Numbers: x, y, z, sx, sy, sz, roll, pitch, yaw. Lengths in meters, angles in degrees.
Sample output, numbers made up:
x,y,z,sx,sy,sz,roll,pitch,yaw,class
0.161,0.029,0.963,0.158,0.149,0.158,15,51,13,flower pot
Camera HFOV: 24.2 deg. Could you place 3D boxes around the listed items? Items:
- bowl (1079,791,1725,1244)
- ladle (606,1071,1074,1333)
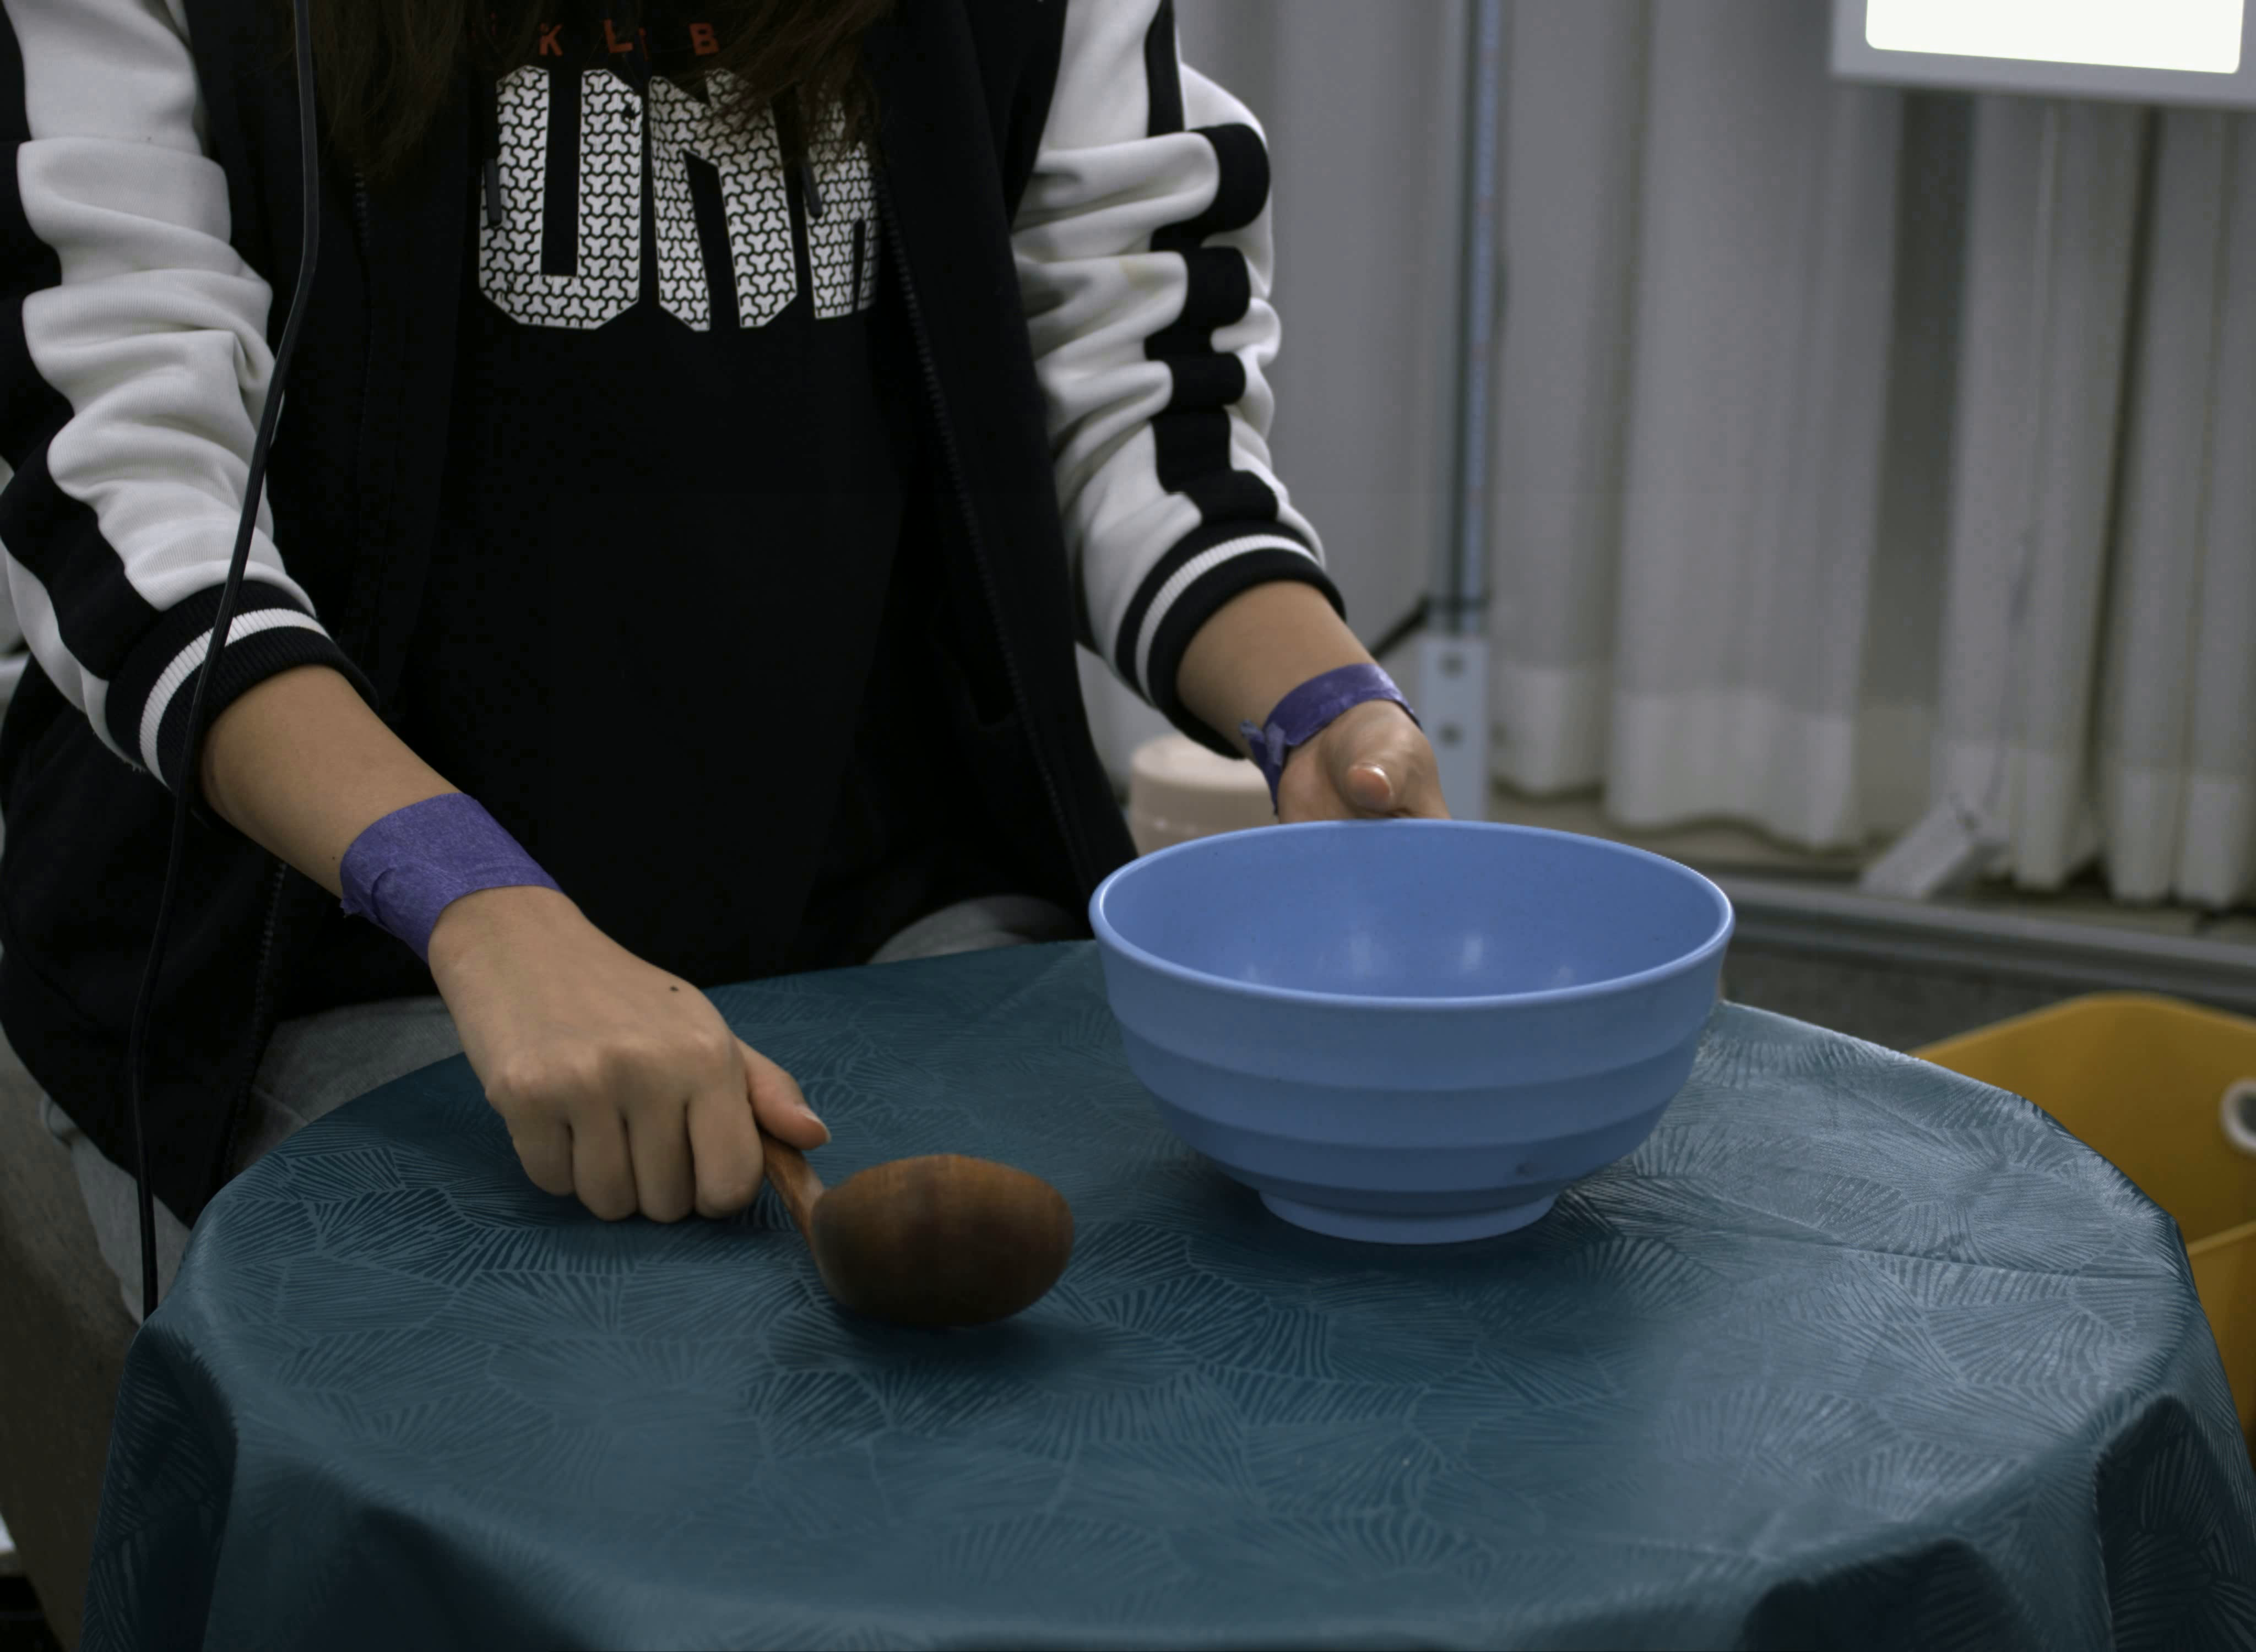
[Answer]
x,y,z,sx,sy,sz,roll,pitch,yaw,class
0.085,0.066,1.615,0.196,0.096,0.195,-2,21,1,bowl
-0.094,0.095,1.567,0.077,0.065,0.257,23,3,-29,ladle
